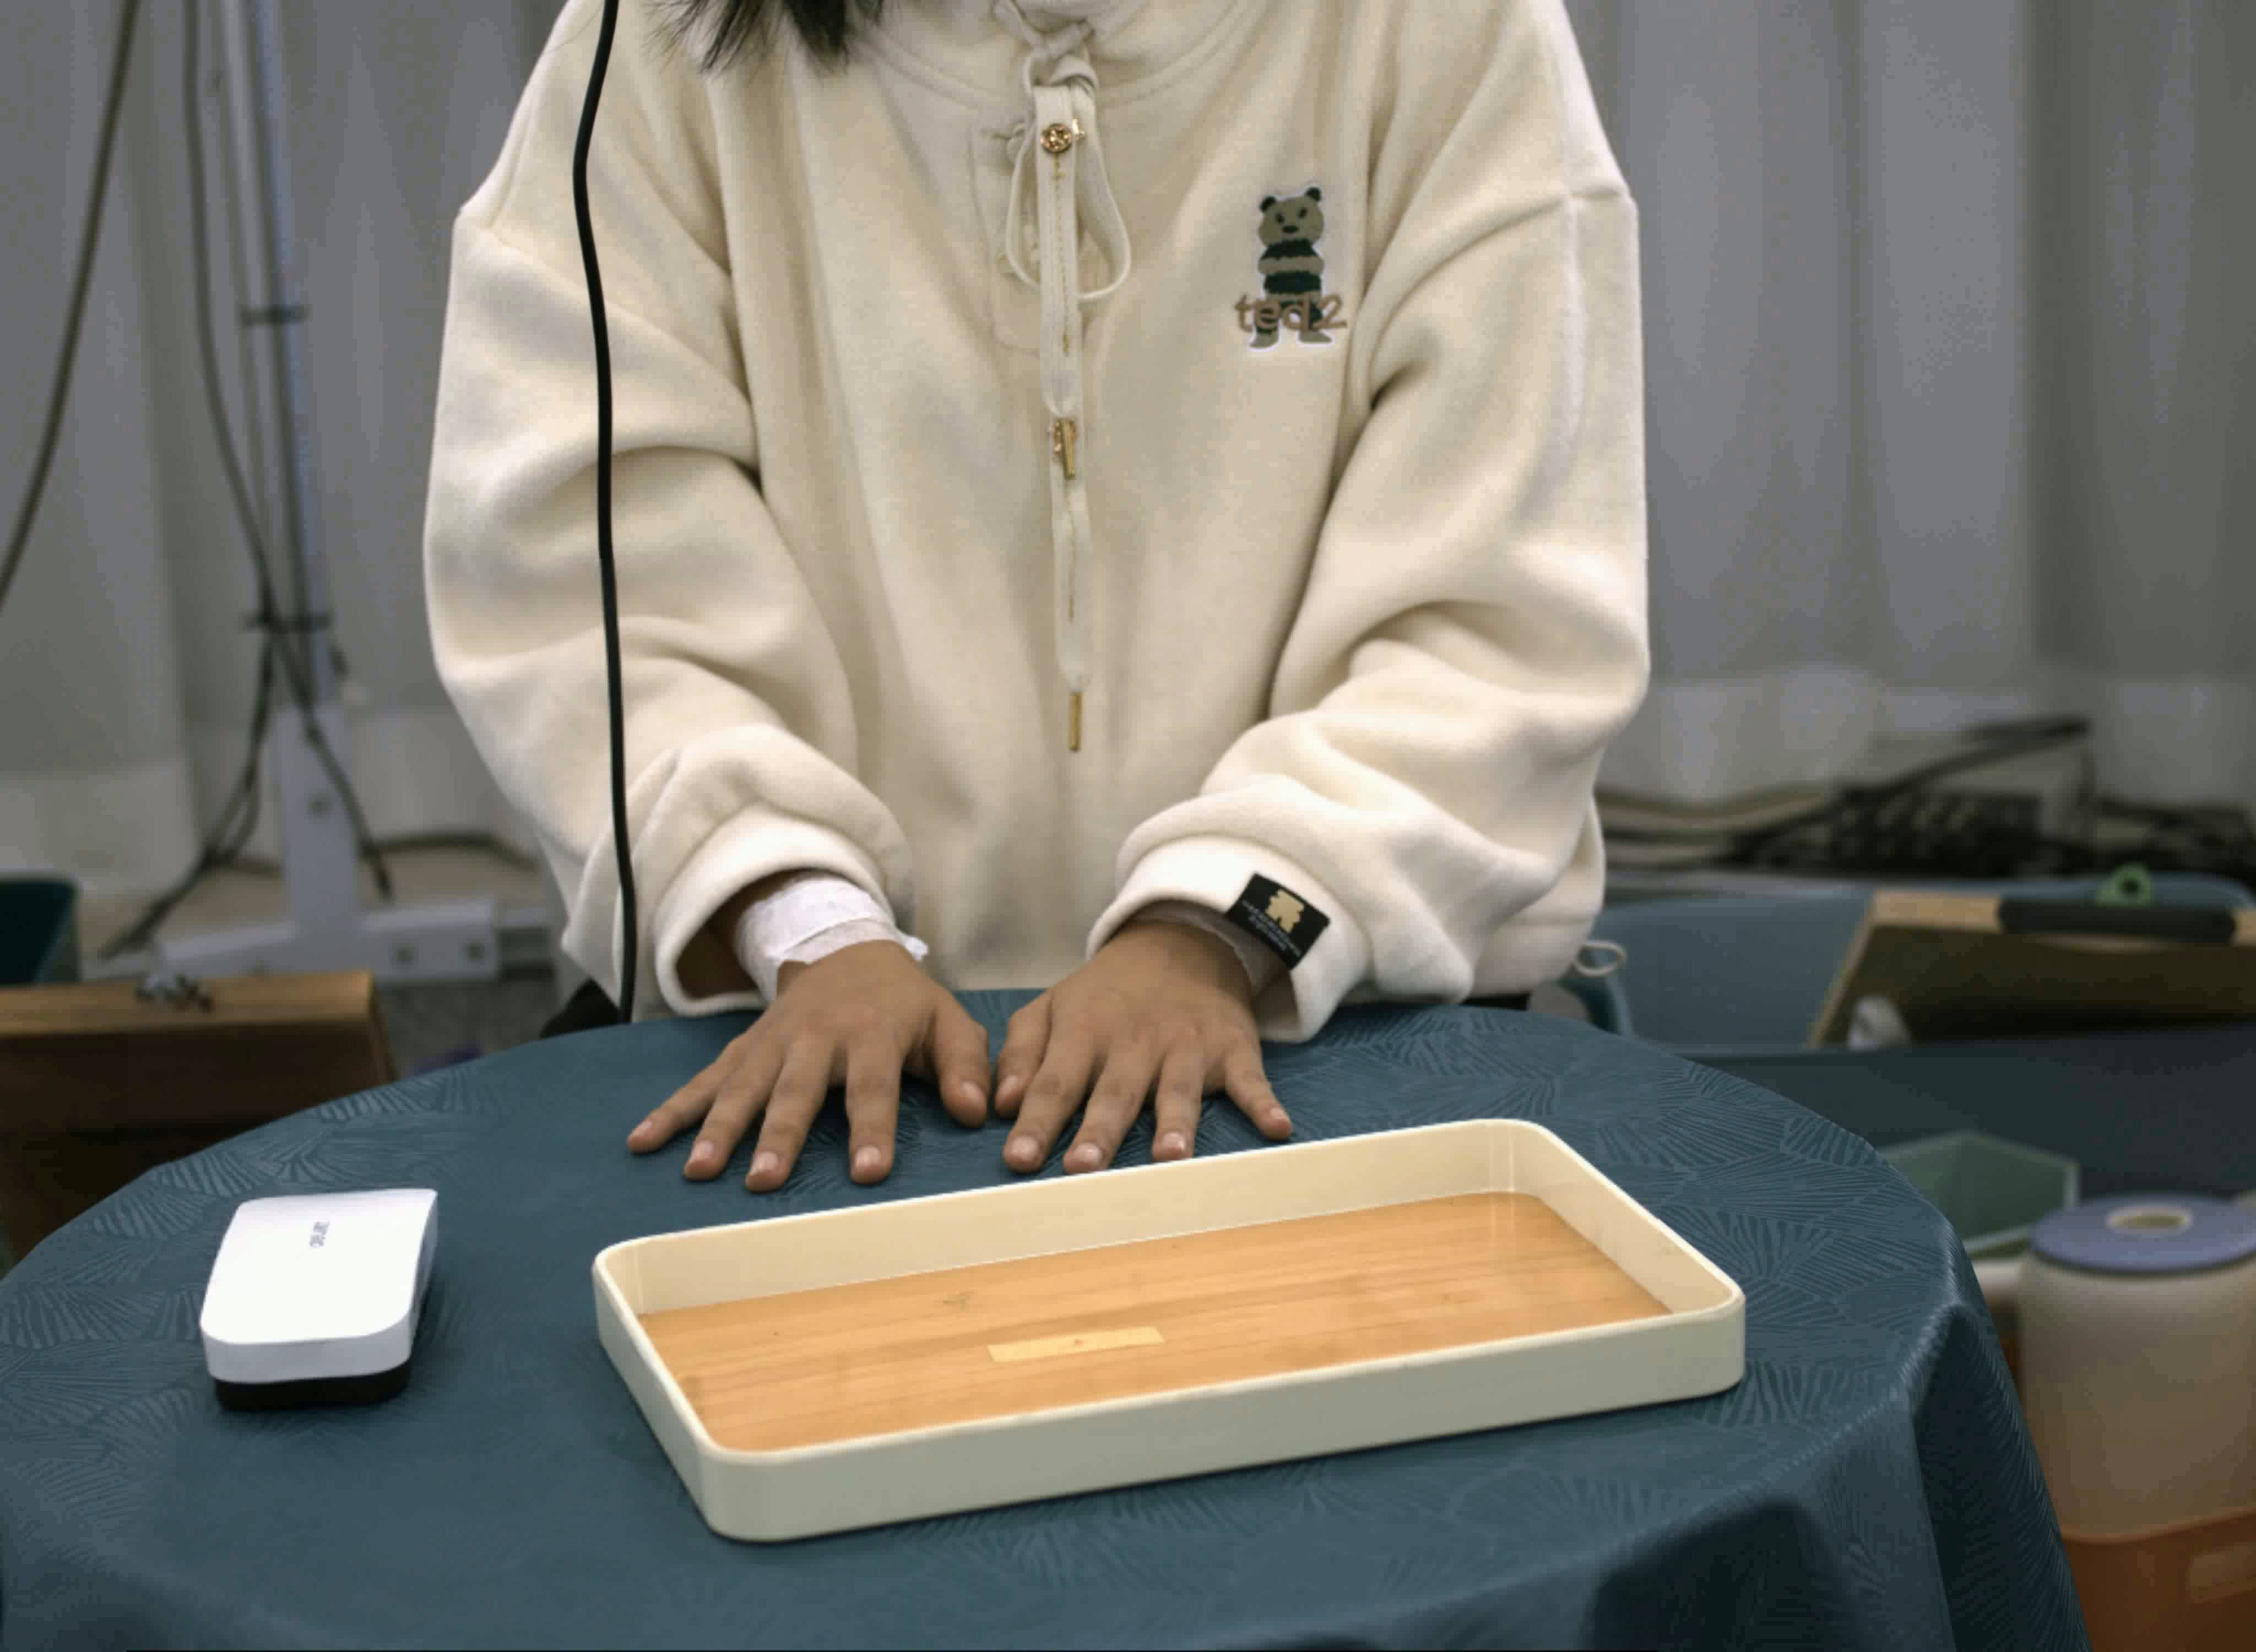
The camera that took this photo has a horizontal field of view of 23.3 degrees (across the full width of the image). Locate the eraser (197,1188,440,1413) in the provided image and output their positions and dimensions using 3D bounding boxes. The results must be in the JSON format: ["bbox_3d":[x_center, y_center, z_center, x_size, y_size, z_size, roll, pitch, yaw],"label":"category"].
[{"bbox_3d":[-0.236,0.136,1.620,0.063,0.034,0.132,-4,15,0],"label":"eraser"}]

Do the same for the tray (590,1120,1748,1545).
[{"bbox_3d":[0.008,0.141,1.561,0.299,0.027,0.193,-7,16,-14],"label":"tray"}]
